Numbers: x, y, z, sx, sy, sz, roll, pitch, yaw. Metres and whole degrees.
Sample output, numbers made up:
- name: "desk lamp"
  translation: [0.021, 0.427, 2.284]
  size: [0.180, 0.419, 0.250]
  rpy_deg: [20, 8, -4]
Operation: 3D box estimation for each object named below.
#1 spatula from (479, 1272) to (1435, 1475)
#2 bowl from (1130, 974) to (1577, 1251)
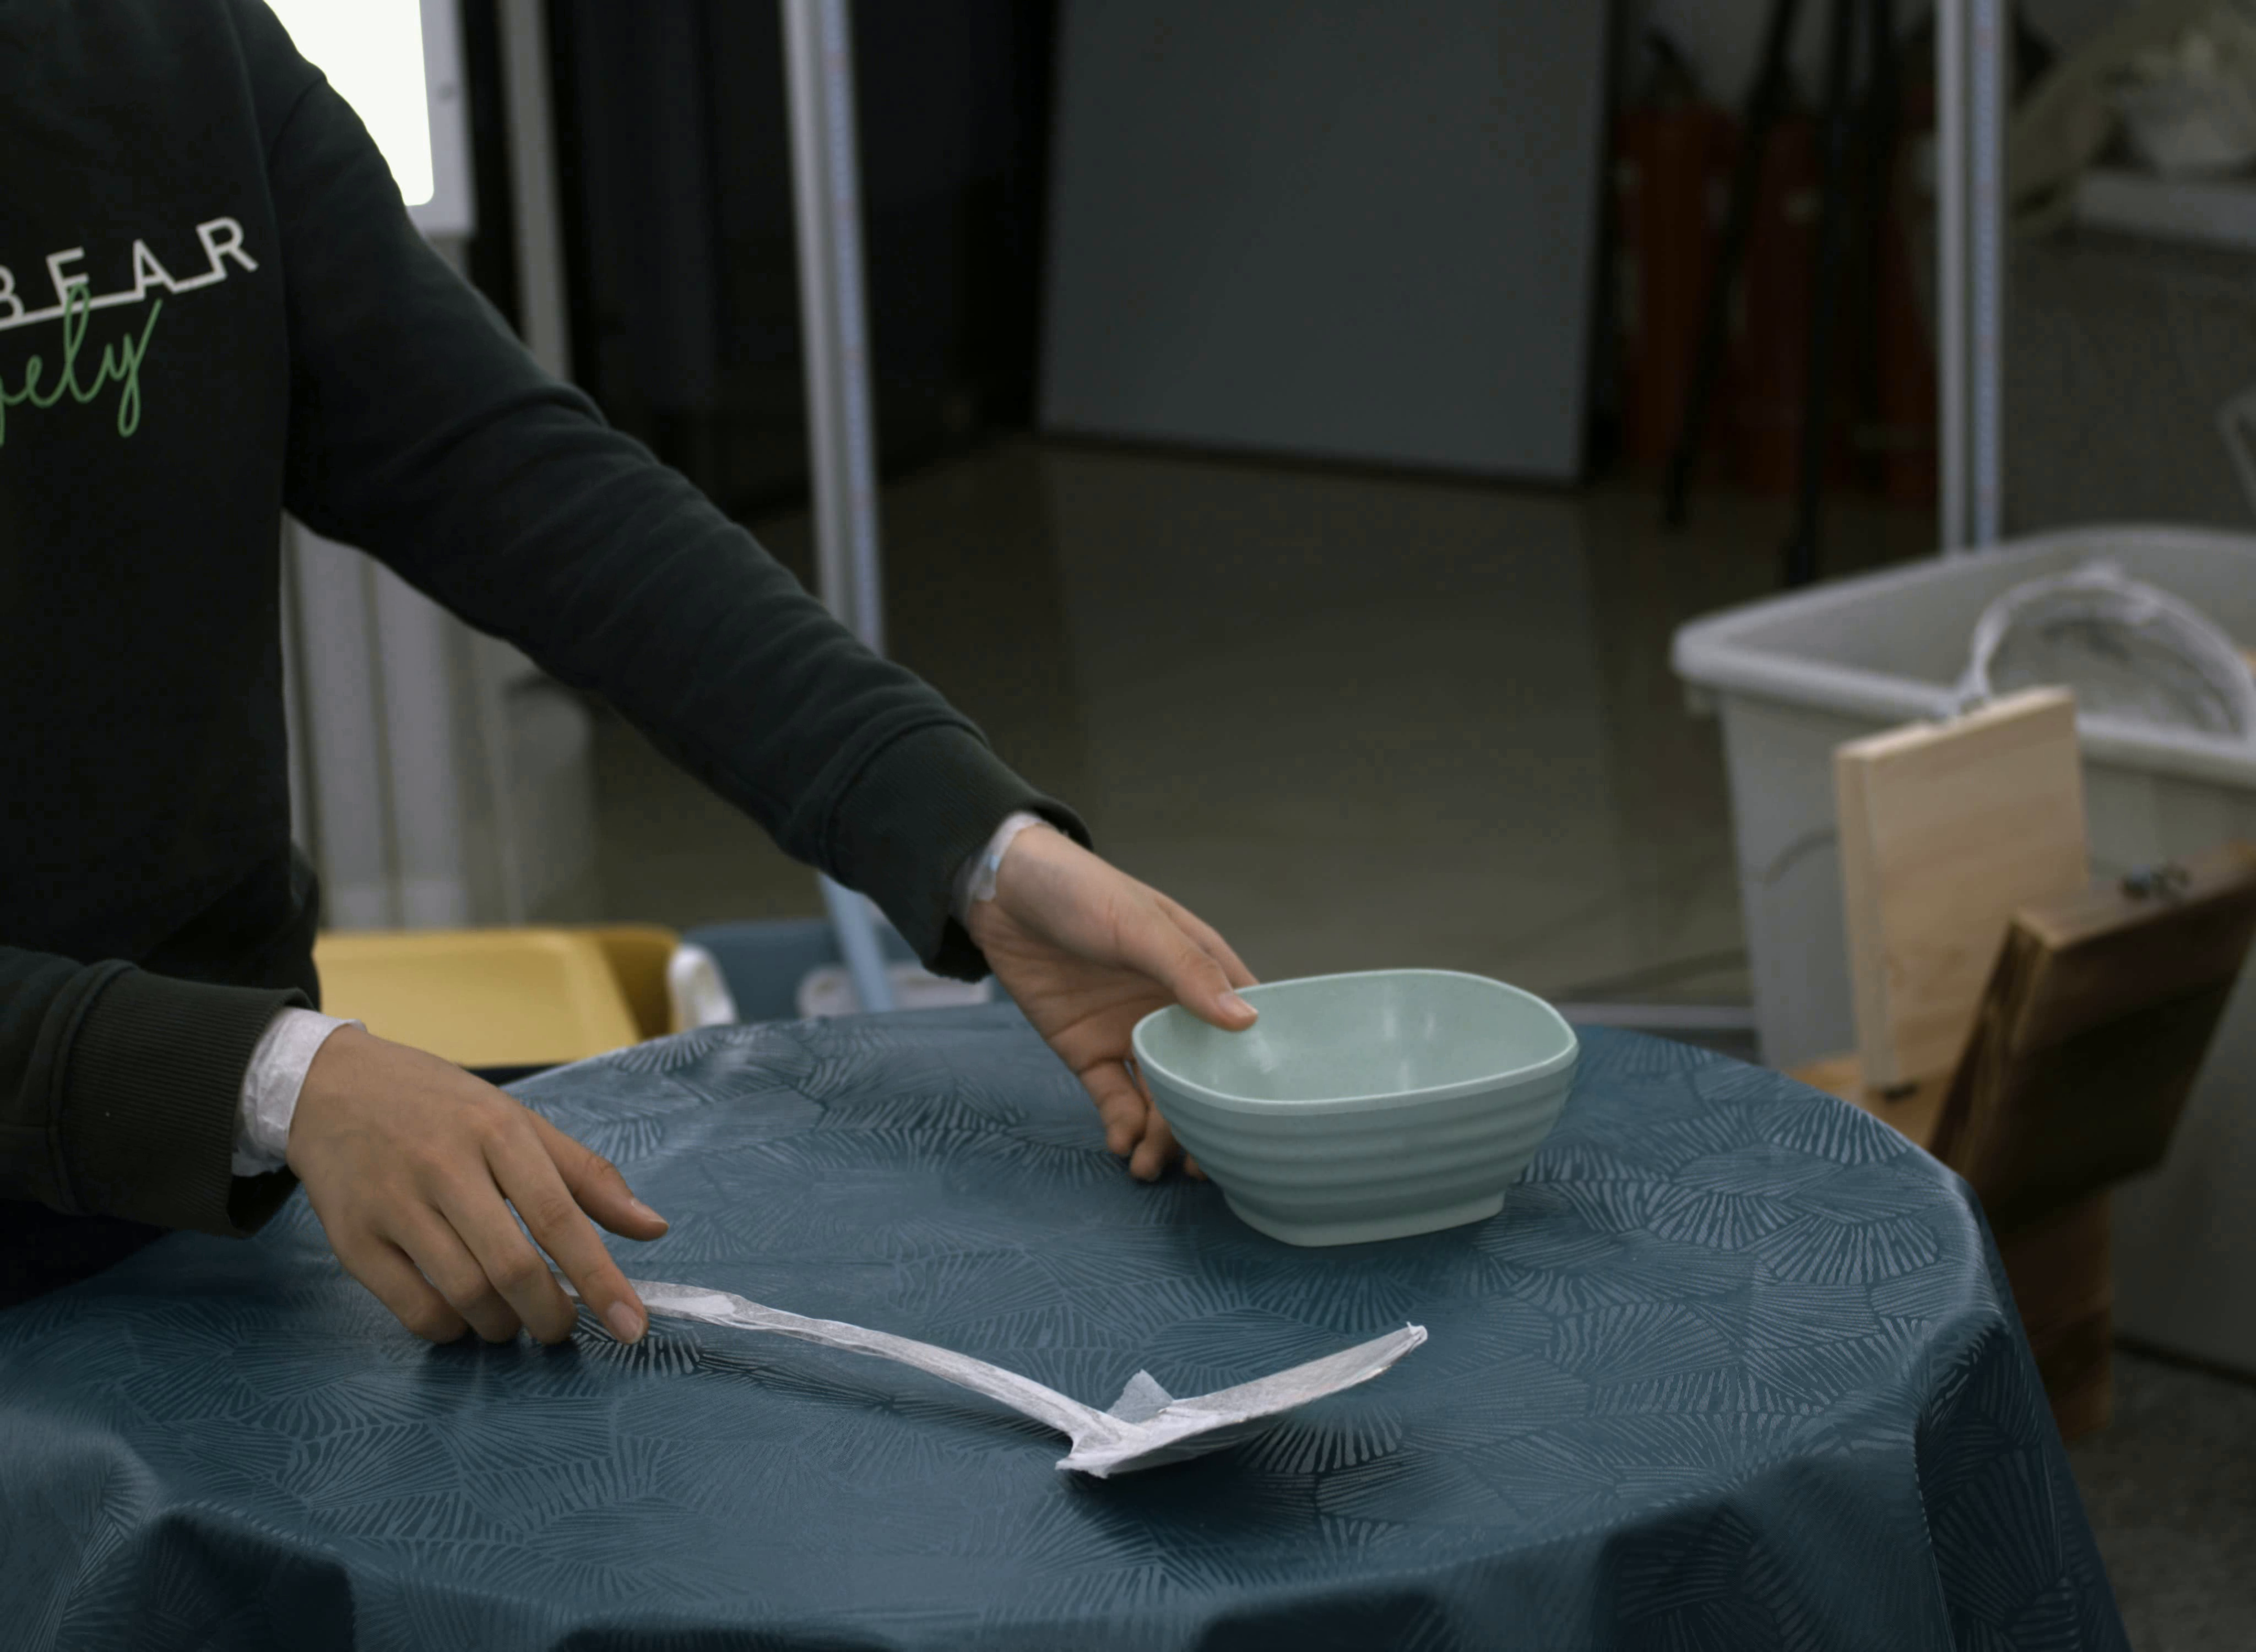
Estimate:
- name: "spatula"
  translation: [-0.071, 0.150, 1.596]
  size: [0.368, 0.045, 0.097]
  rpy_deg: [8, 19, 39]
- name: "bowl"
  translation: [0.073, 0.095, 1.739]
  size: [0.149, 0.059, 0.152]
  rpy_deg: [-1, 14, -1]
